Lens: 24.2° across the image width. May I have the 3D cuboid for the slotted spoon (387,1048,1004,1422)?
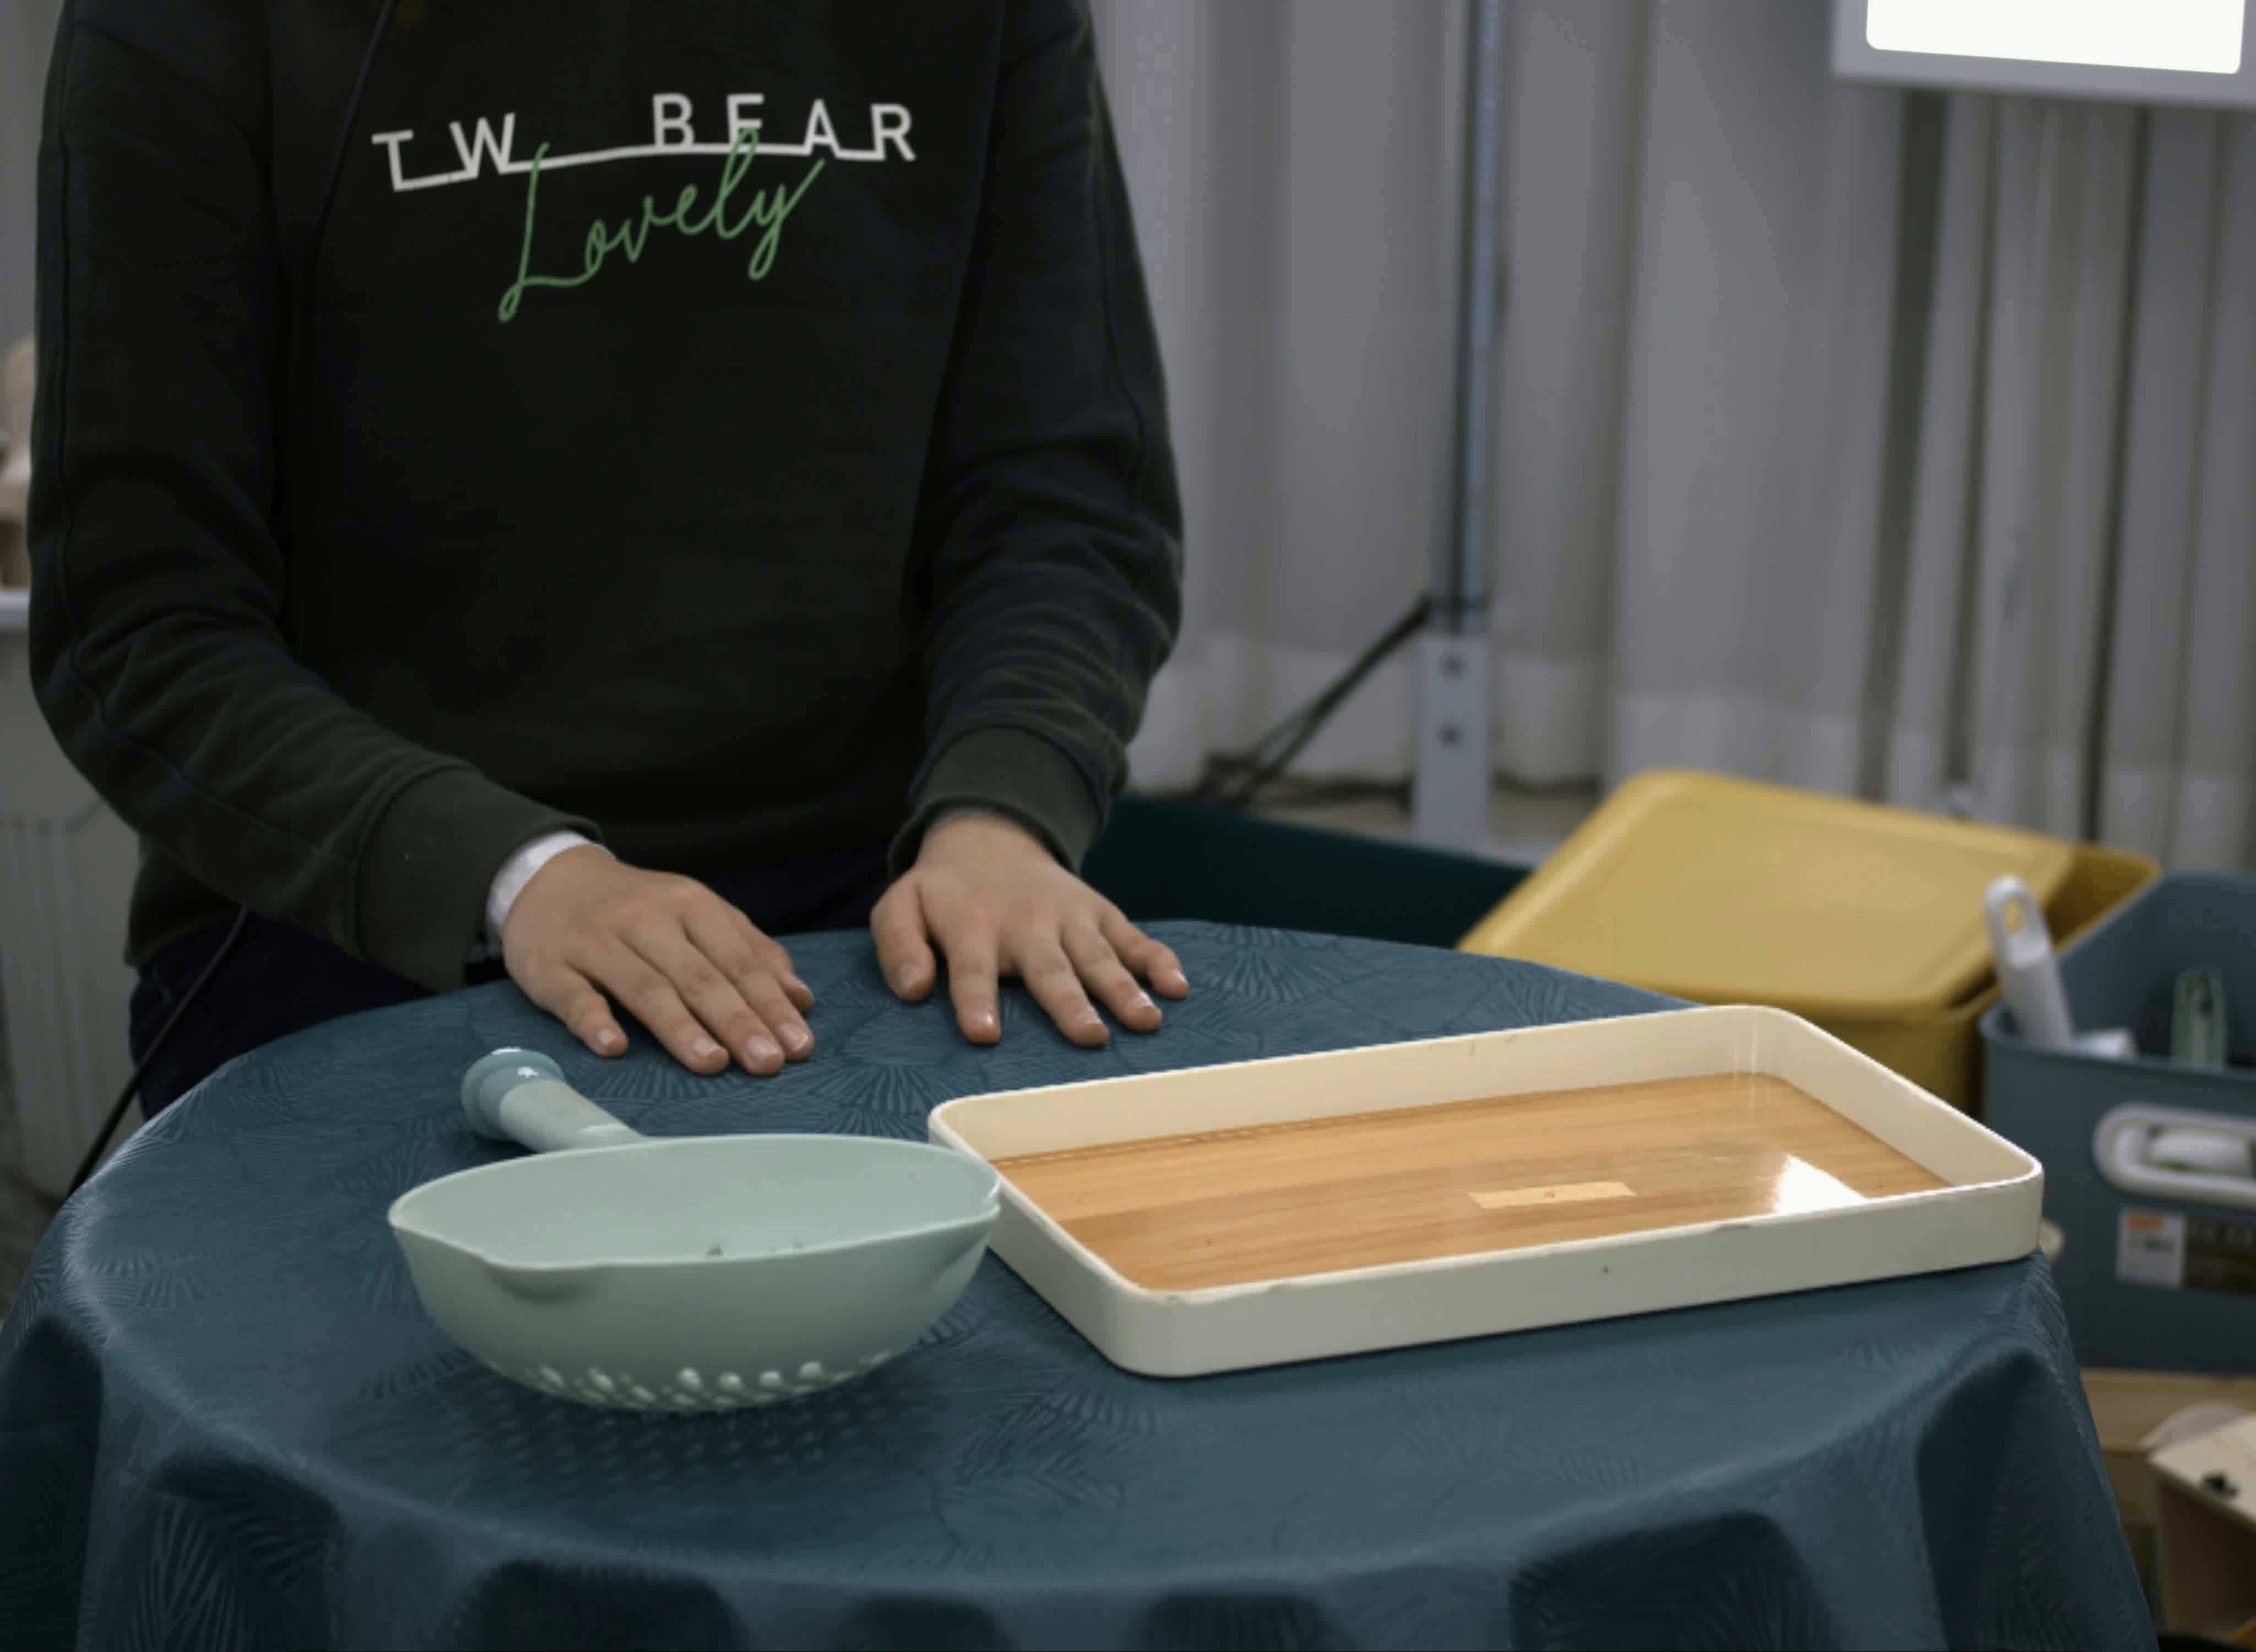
[{"bbox_3d":[-0.149,0.103,1.537,0.170,0.076,0.355,-4,17,-18],"label":"slotted spoon"}]

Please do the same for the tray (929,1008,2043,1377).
[{"bbox_3d":[0.106,0.108,1.601,0.301,0.027,0.189,-5,17,-21],"label":"tray"}]
